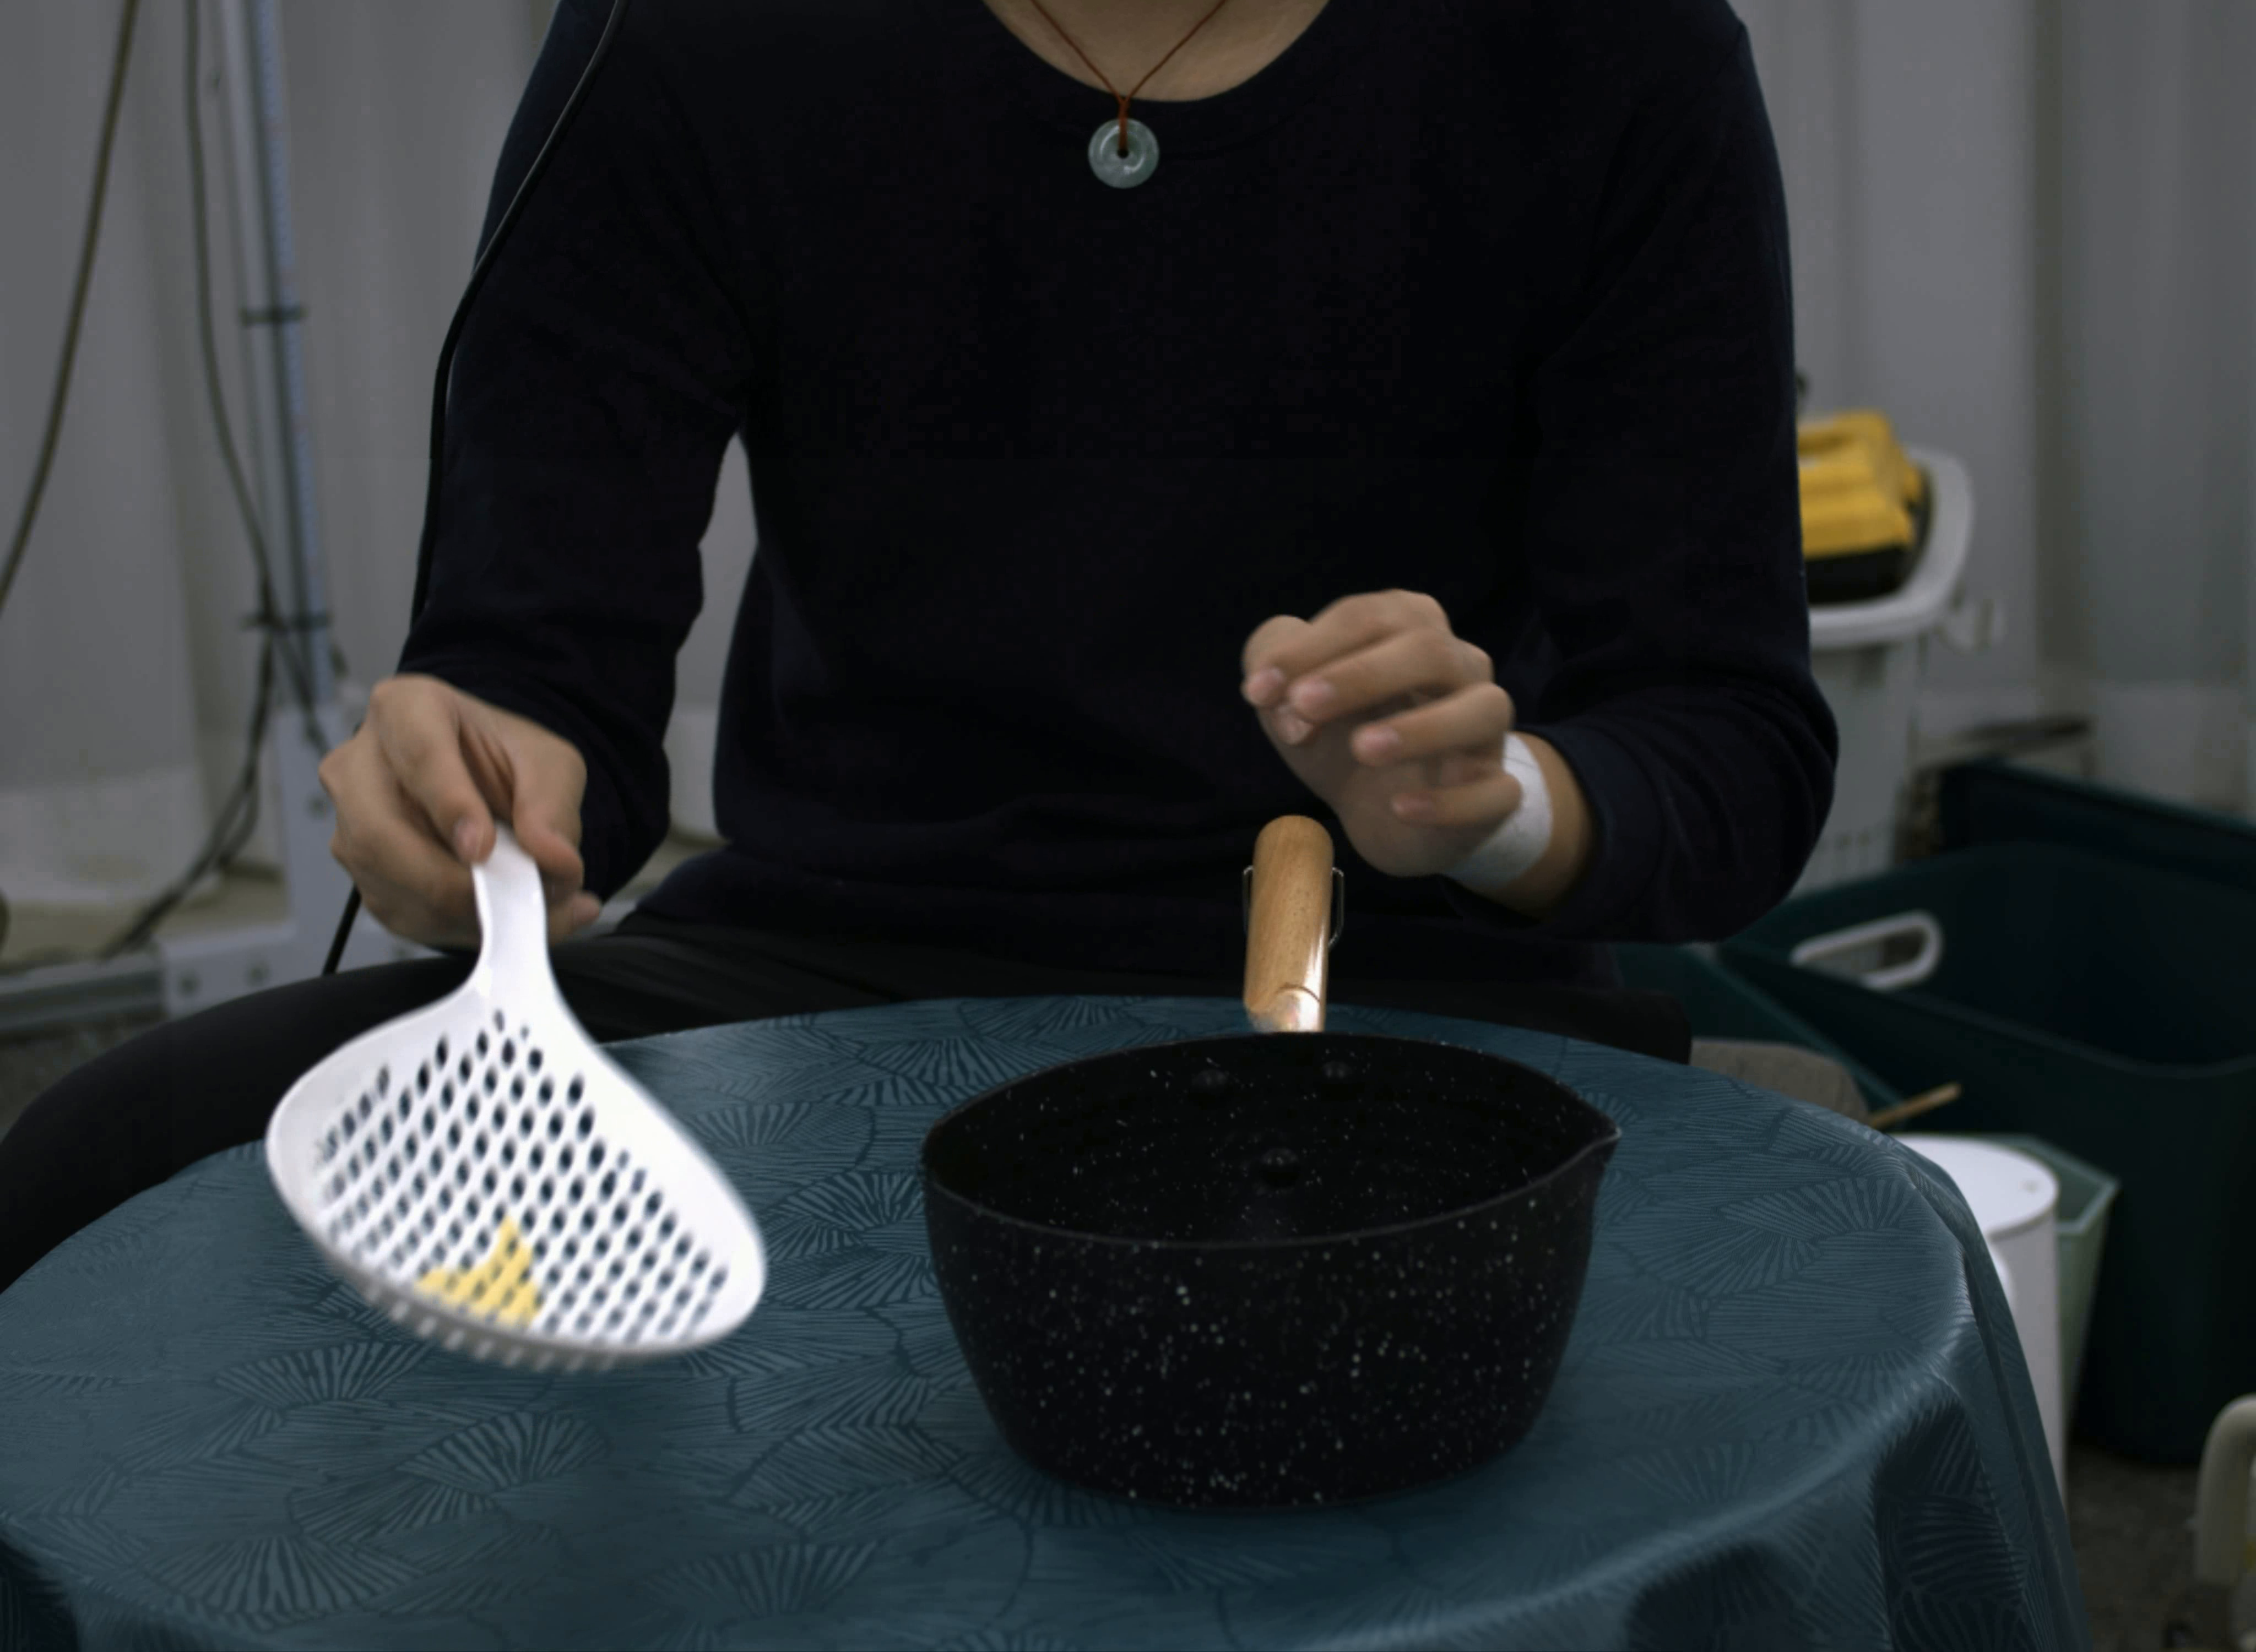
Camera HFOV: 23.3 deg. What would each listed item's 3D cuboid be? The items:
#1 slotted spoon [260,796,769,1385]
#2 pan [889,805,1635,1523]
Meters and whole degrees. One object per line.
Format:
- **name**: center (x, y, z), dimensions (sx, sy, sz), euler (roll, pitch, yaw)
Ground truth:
- **slotted spoon**: center (-0.177, 0.061, 1.522), dimensions (0.136, 0.050, 0.352), euler (14, 26, -15)
- **pan**: center (0.042, 0.092, 1.585), dimensions (0.207, 0.108, 0.345), euler (-3, 16, 4)
